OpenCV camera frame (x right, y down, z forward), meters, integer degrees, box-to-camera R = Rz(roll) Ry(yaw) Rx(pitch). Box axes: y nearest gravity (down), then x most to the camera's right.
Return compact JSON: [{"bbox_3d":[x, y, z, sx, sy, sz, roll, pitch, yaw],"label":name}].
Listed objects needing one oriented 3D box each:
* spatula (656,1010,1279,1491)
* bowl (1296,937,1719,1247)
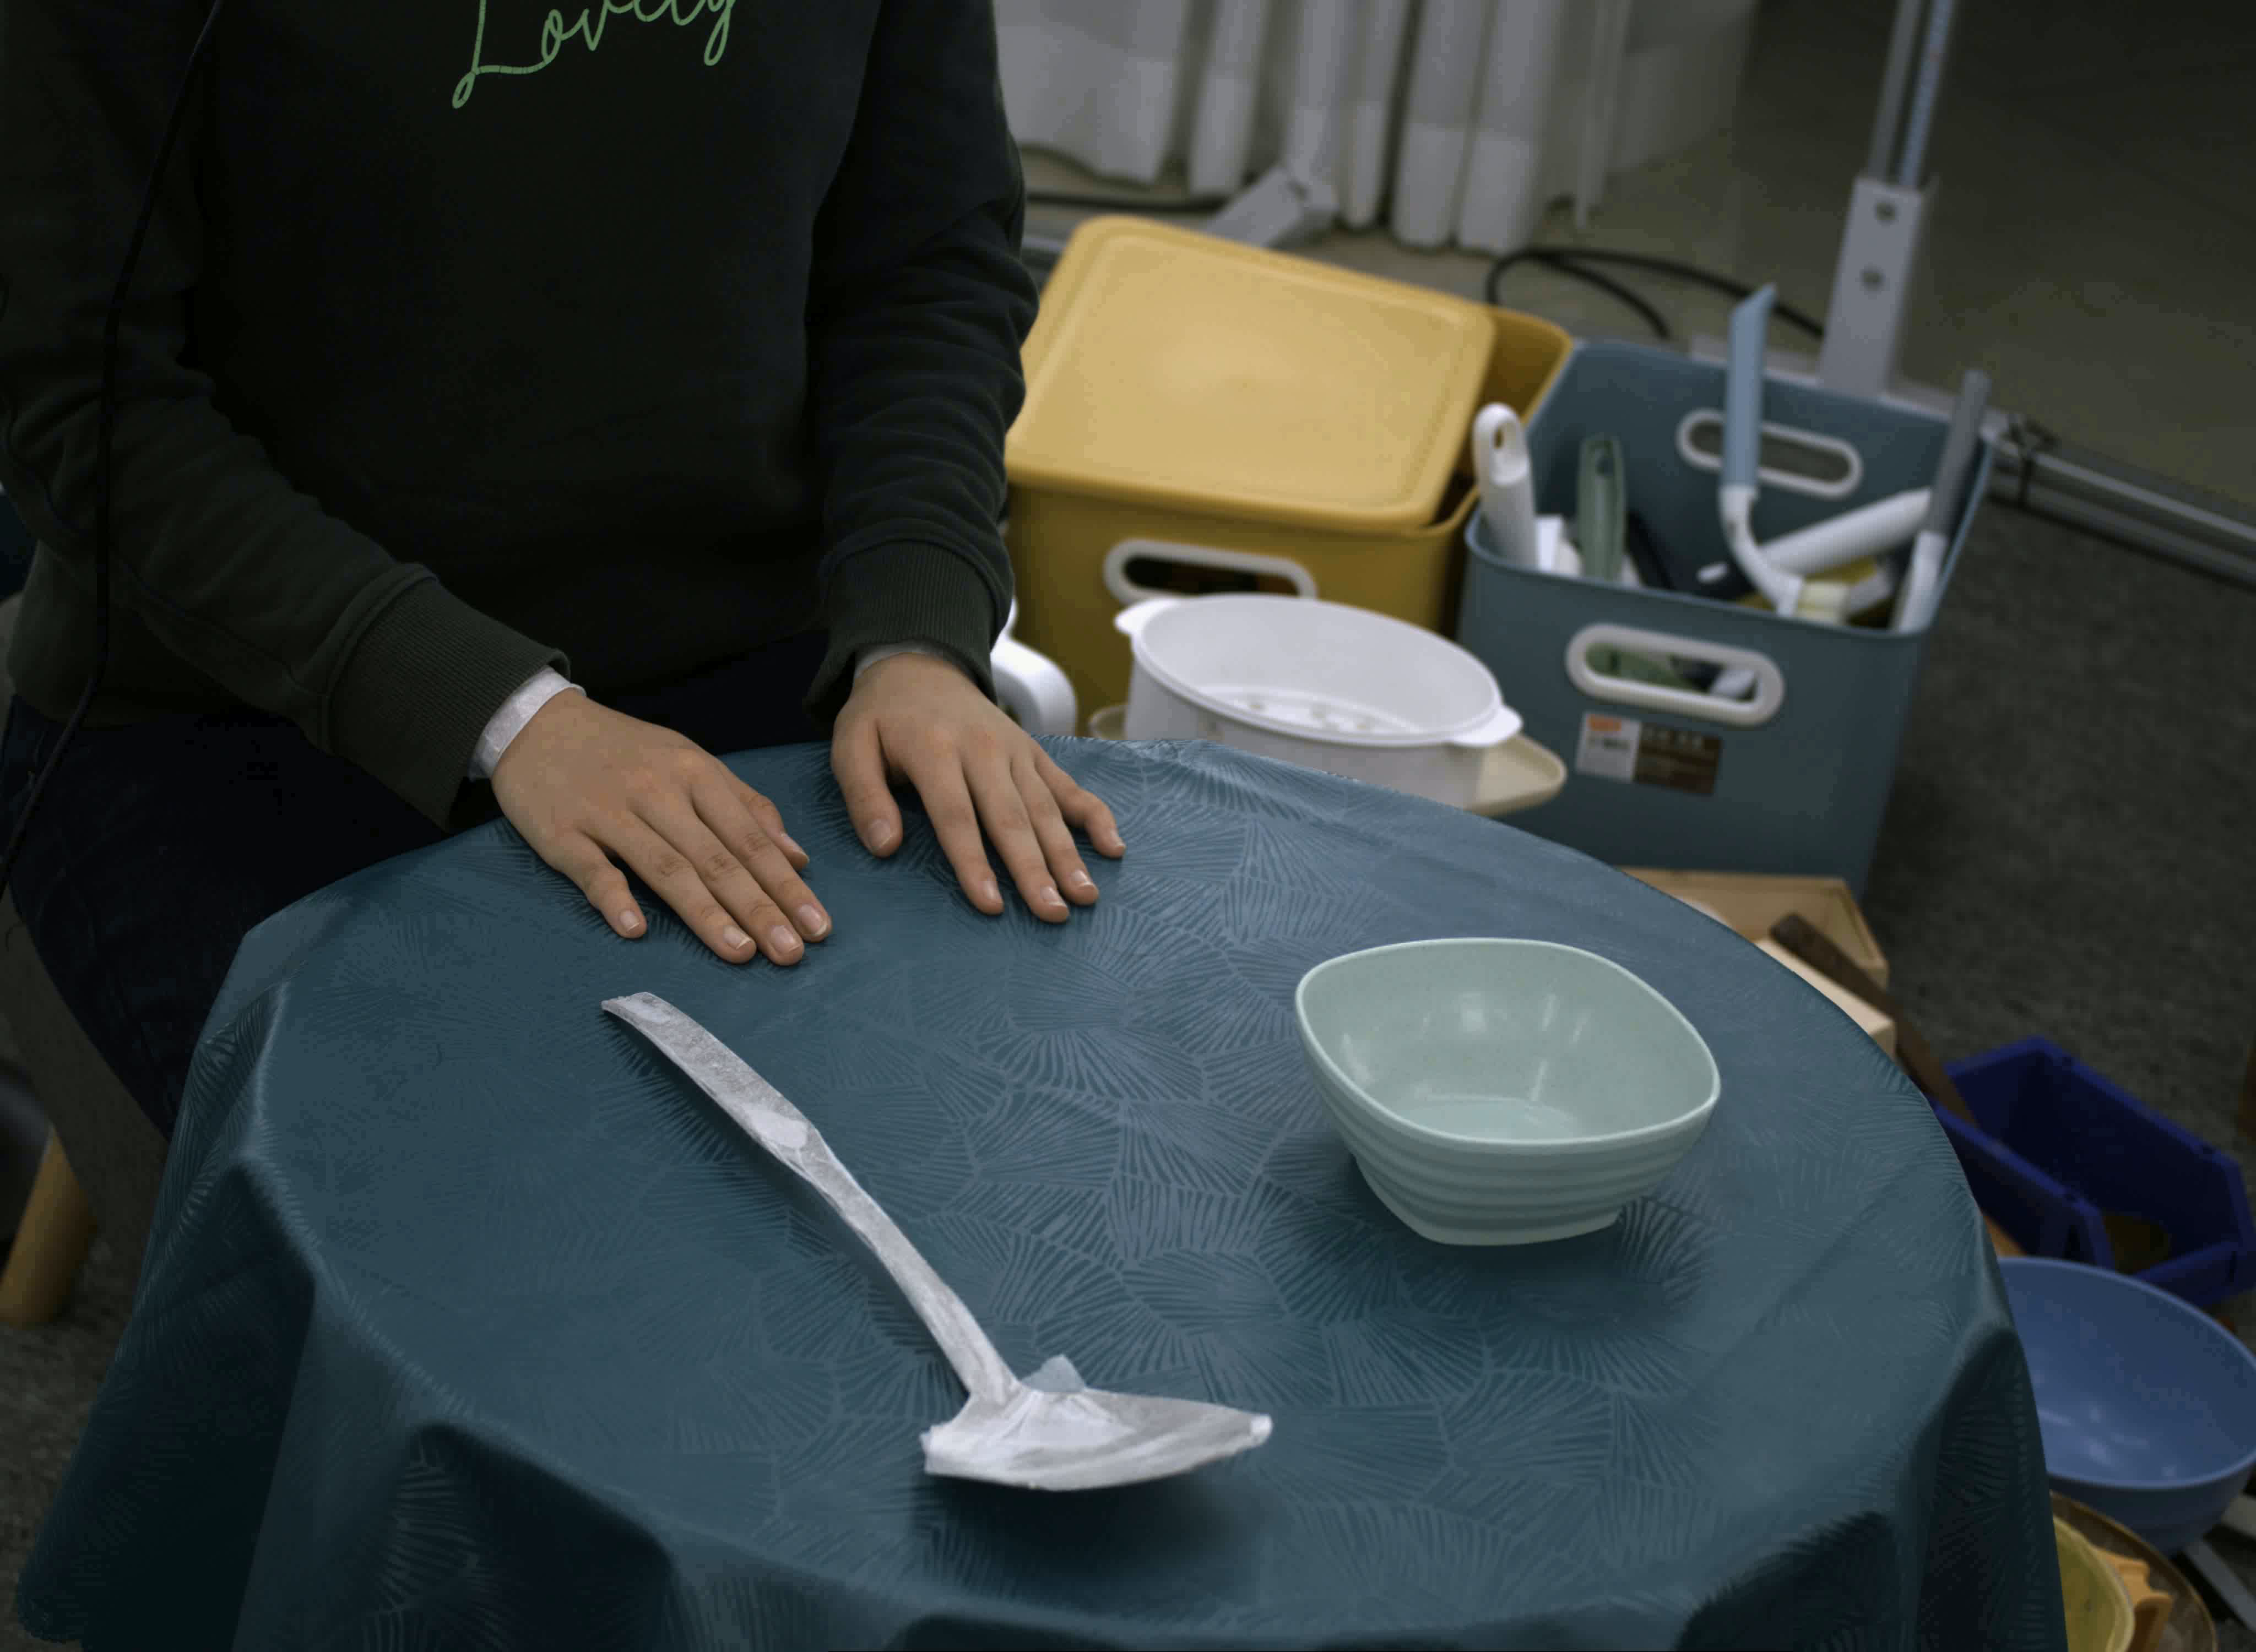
[{"bbox_3d":[-0.077,0.129,1.729,0.098,0.044,0.368,-11,31,-27],"label":"spatula"},{"bbox_3d":[0.124,0.097,1.819,0.151,0.058,0.152,8,27,-4],"label":"bowl"}]
